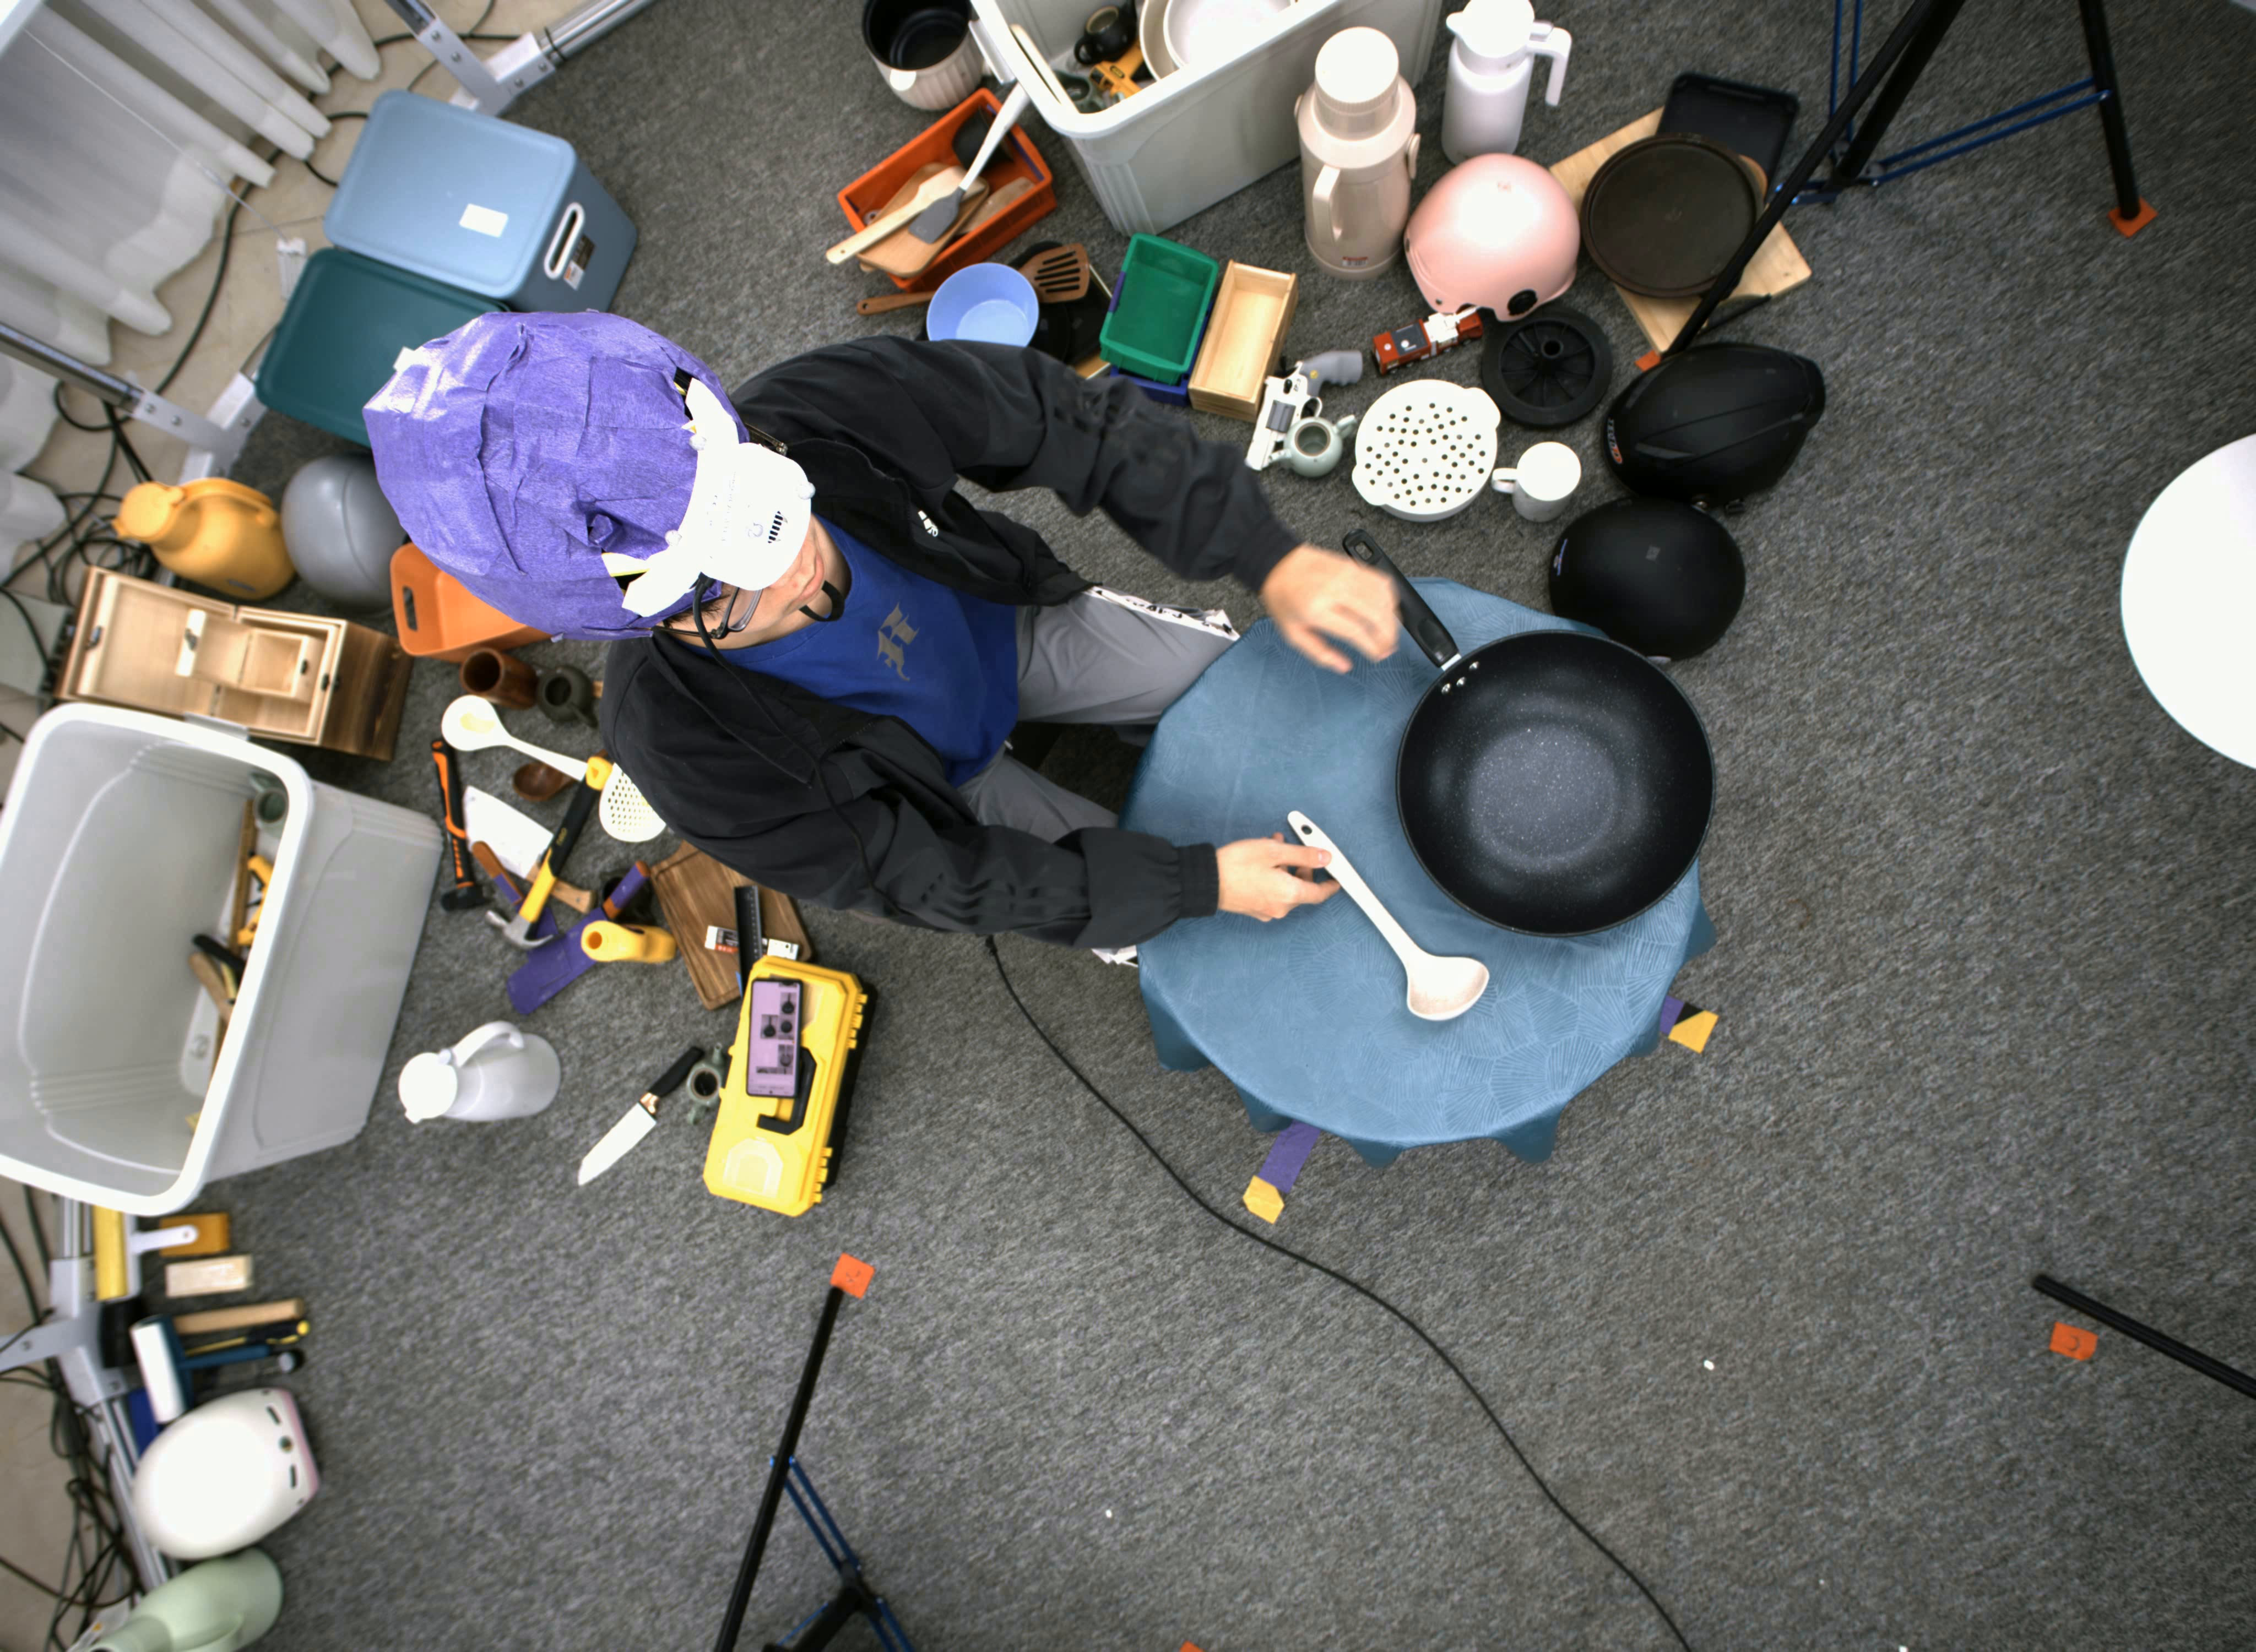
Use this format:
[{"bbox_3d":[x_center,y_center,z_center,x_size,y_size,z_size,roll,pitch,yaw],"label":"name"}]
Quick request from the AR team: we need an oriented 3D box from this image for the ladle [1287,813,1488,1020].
[{"bbox_3d":[0.260,0.081,1.427,0.089,0.070,0.273,-37,79,-9],"label":"ladle"}]

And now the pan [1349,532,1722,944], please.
[{"bbox_3d":[0.381,-0.103,1.393,0.311,0.112,0.474,-39,81,5],"label":"pan"}]
